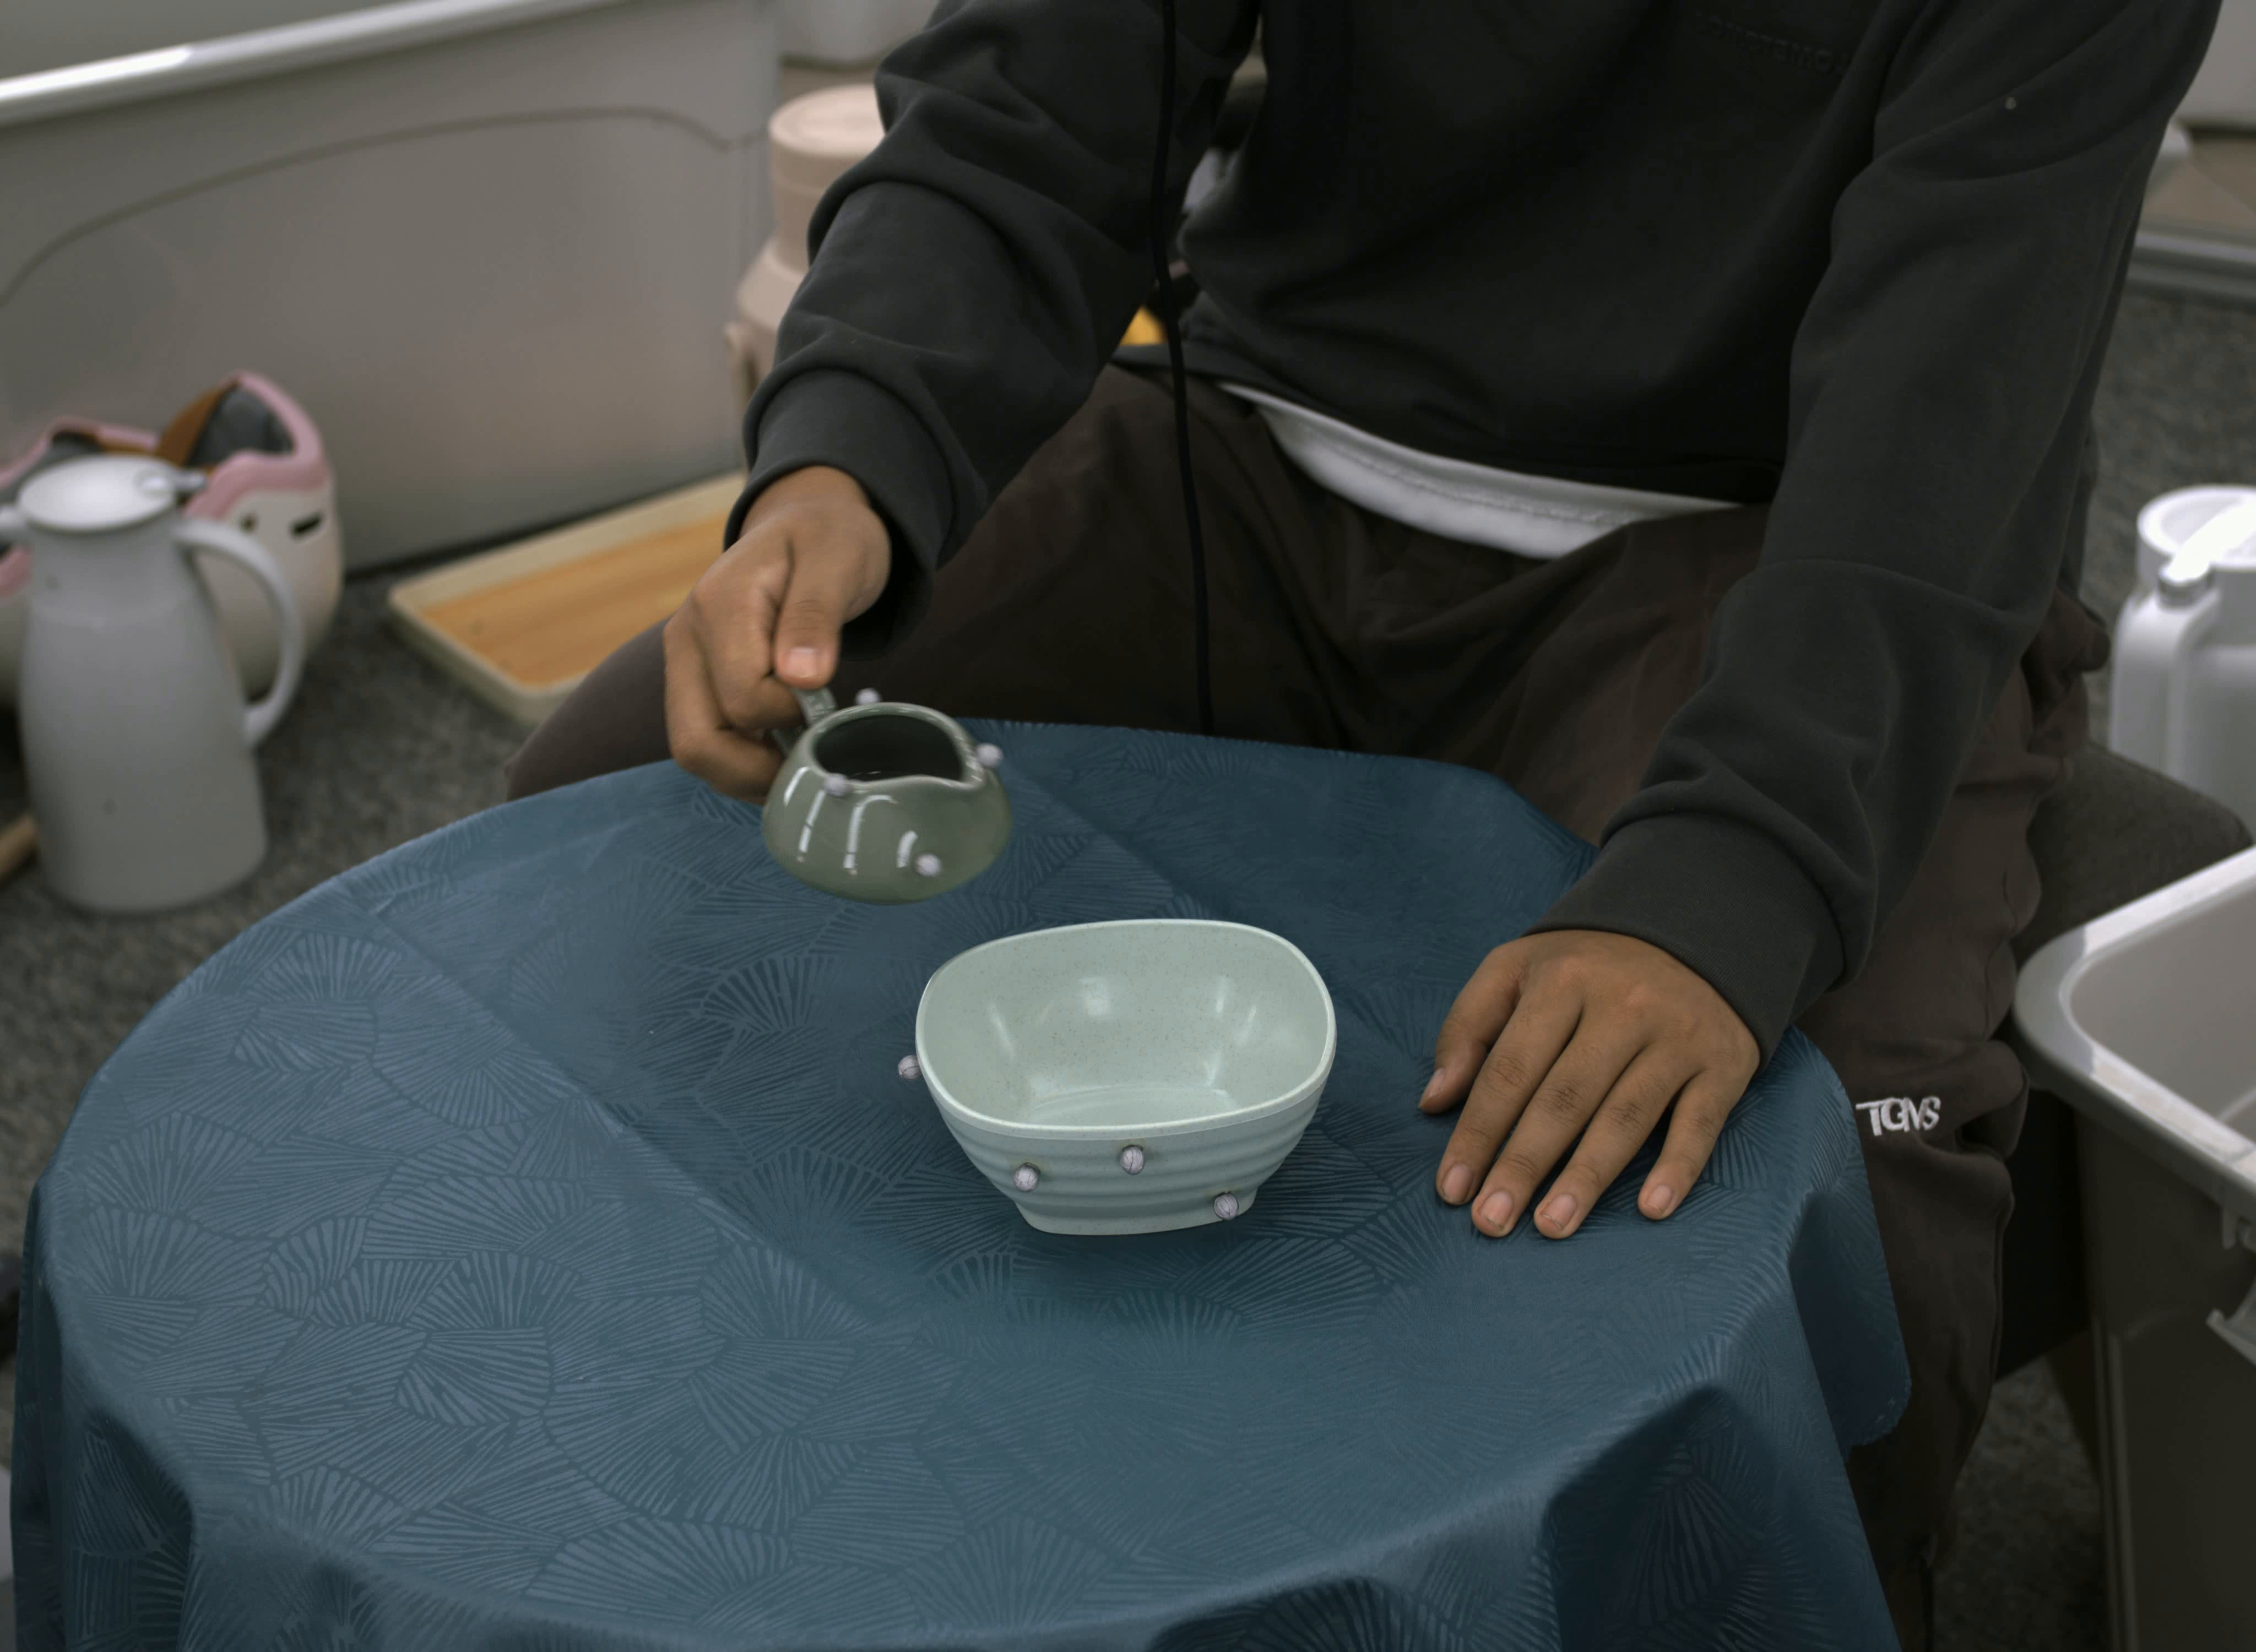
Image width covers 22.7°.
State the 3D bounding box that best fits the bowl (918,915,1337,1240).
[{"bbox_3d":[0.001,0.090,1.867,0.151,0.058,0.154,-2,29,2],"label":"bowl"}]

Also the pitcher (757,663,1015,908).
[{"bbox_3d":[-0.084,-0.013,1.884,0.085,0.055,0.112,-25,39,-37],"label":"pitcher"}]
